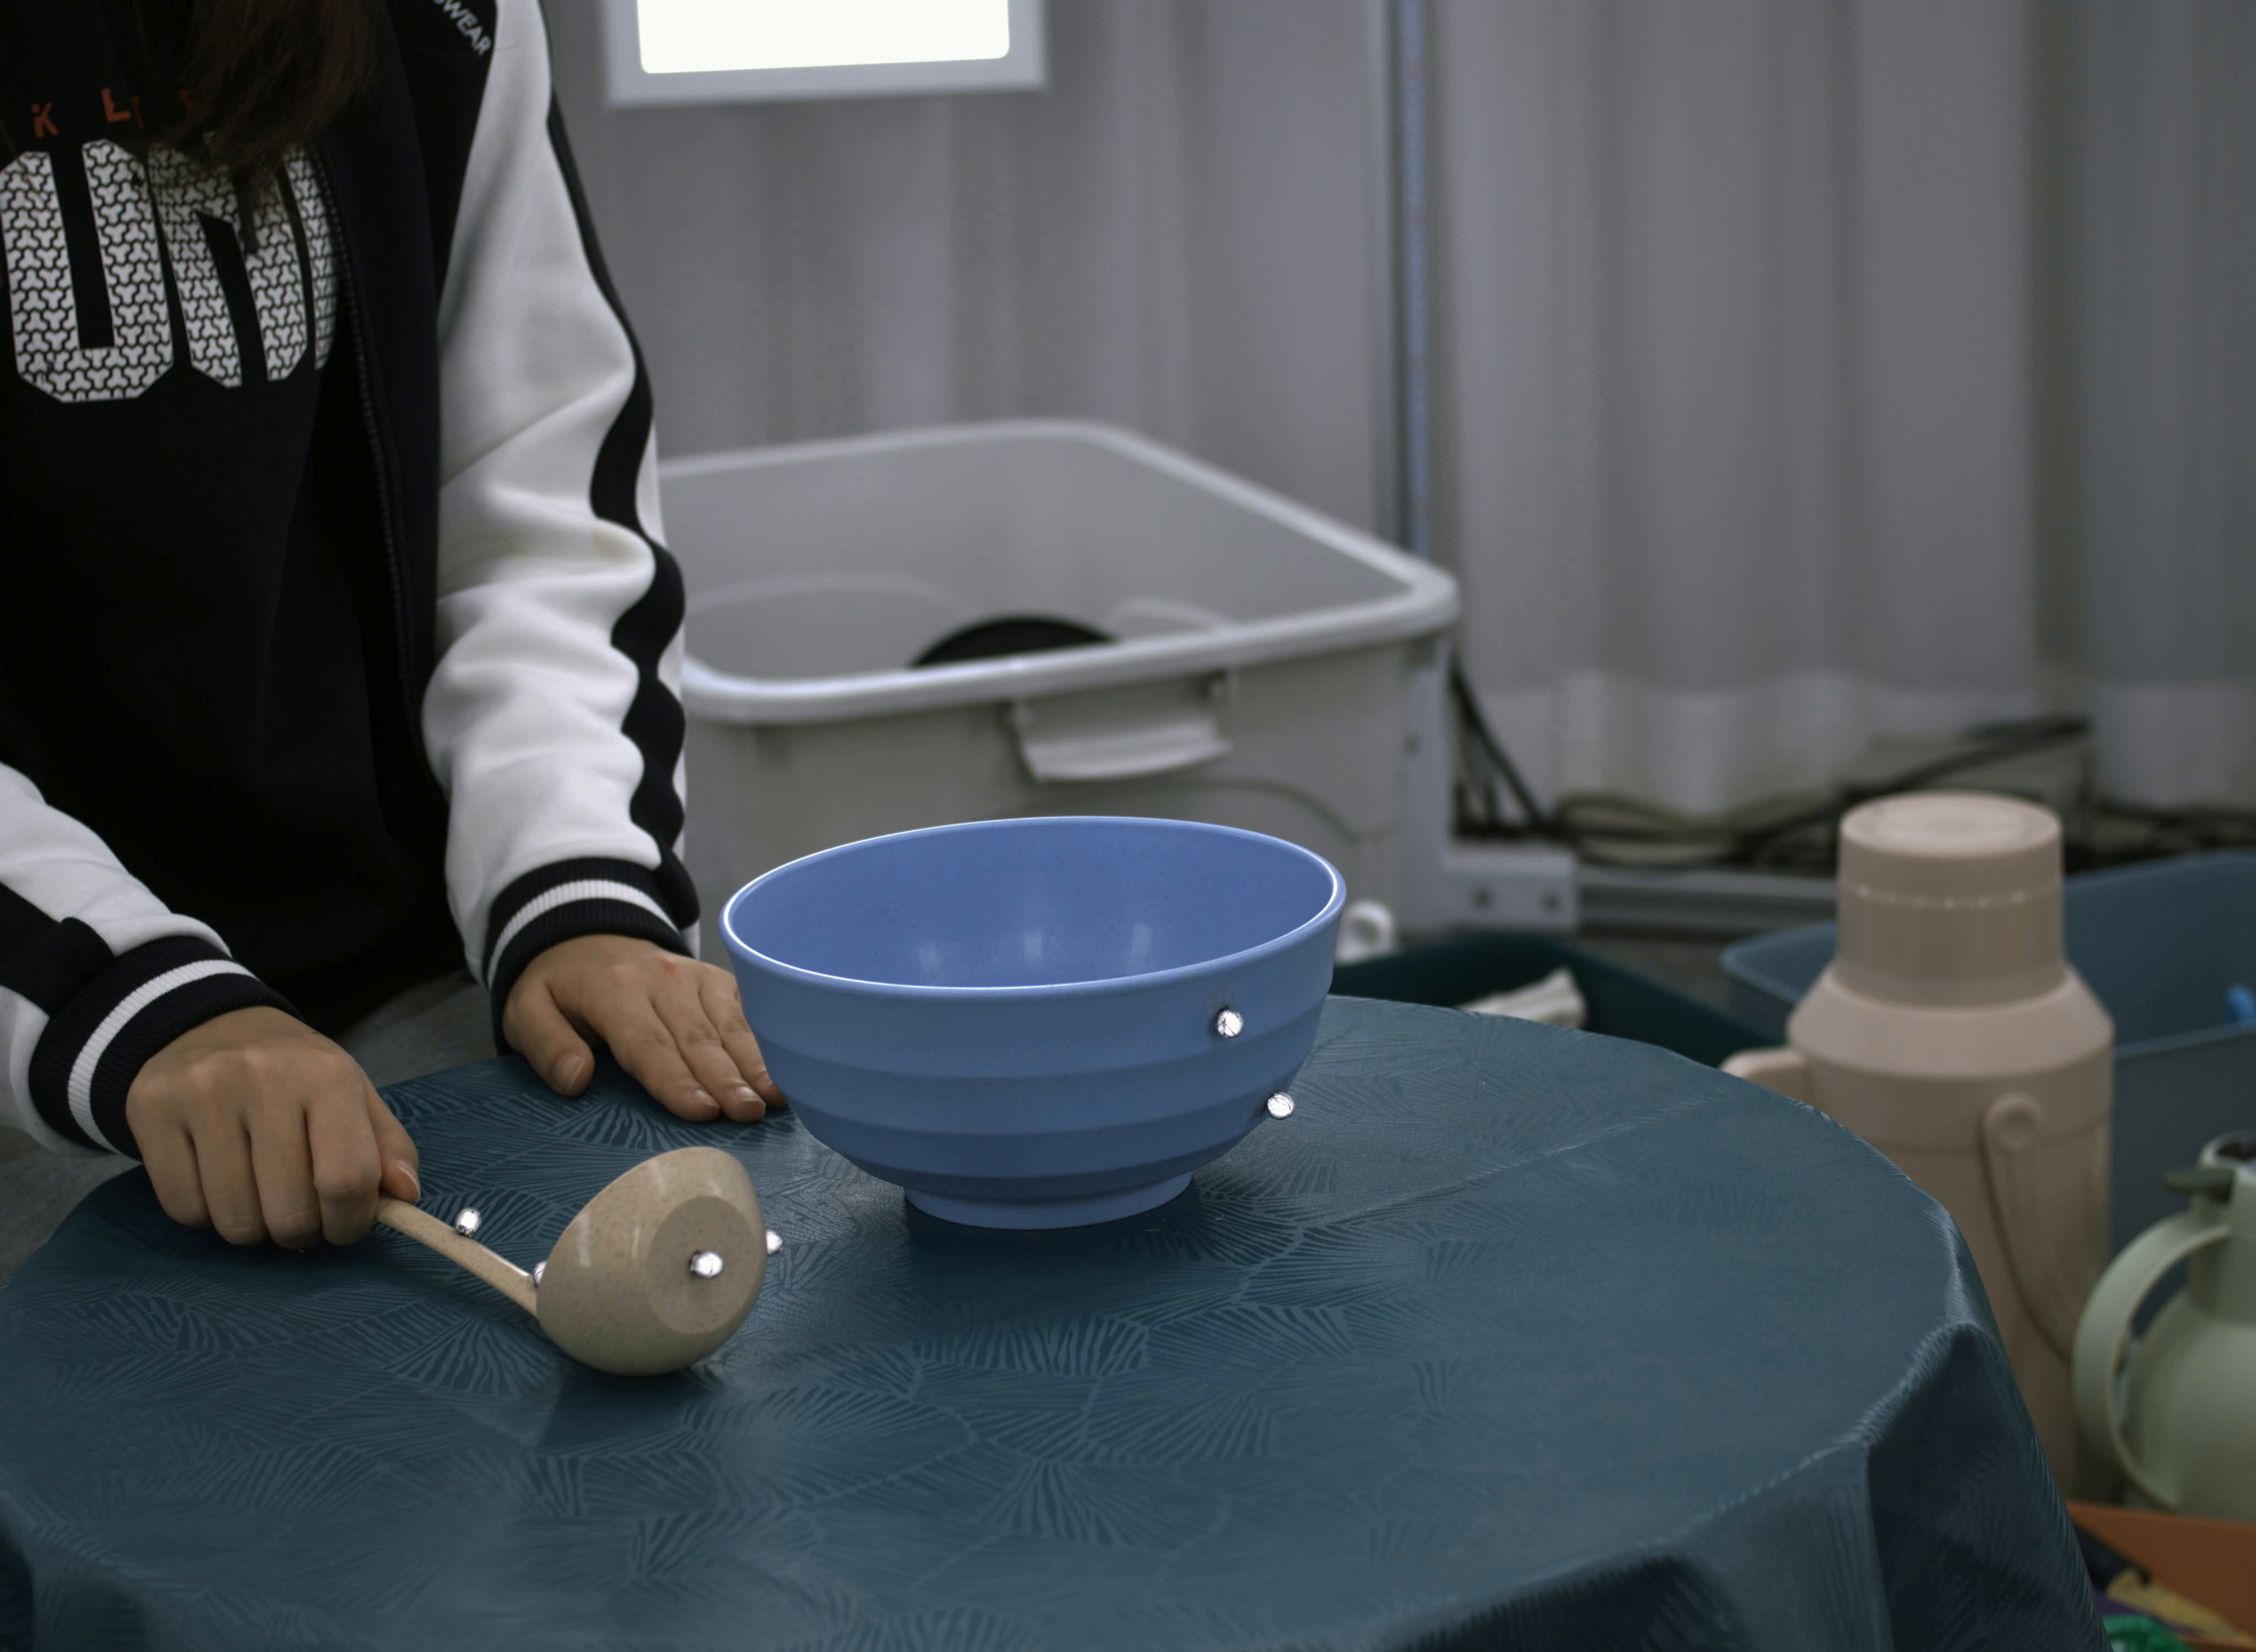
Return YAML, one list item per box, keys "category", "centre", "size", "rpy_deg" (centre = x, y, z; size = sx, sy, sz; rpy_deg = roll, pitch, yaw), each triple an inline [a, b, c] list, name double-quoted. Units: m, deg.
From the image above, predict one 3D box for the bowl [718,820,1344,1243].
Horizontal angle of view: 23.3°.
- category: "bowl"
  centre: [-0.027, 0.071, 1.716]
  size: [0.196, 0.095, 0.198]
  rpy_deg: [-4, 15, 1]

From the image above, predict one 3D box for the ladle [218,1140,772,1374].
- category: "ladle"
  centre: [-0.201, 0.103, 1.643]
  size: [0.072, 0.072, 0.256]
  rpy_deg: [-10, 18, -40]
